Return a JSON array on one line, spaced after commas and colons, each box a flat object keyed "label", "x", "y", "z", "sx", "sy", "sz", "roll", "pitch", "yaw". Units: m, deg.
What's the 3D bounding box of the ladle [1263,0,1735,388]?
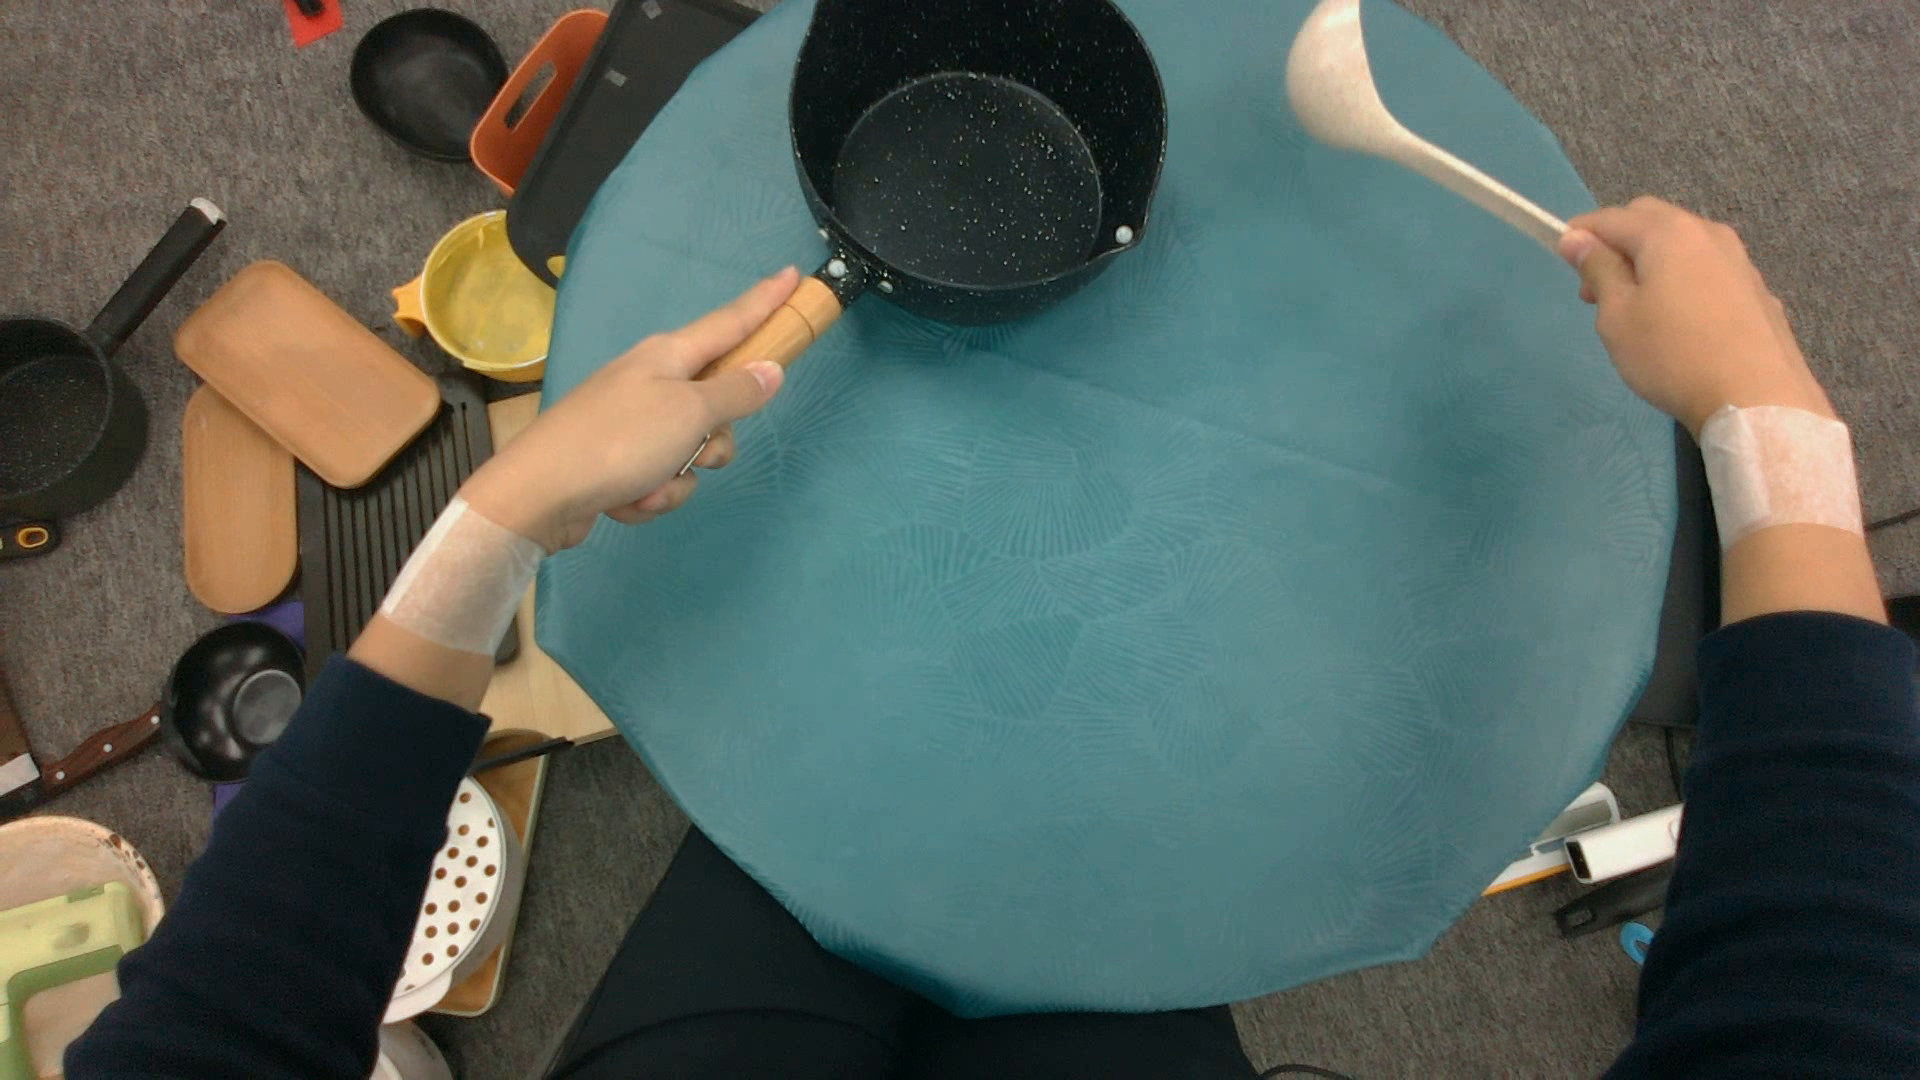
[{"label": "ladle", "x": 0.265, "y": -0.174, "z": 0.666, "sx": 0.275, "sy": 0.089, "sz": 0.069, "roll": 38, "pitch": 80, "yaw": 19}]

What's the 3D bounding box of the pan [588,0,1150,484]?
[{"label": "pan", "x": -0.049, "y": -0.143, "z": 0.676, "sx": 0.207, "sy": 0.108, "sz": 0.344, "roll": 37, "pitch": 74, "yaw": 4}]
